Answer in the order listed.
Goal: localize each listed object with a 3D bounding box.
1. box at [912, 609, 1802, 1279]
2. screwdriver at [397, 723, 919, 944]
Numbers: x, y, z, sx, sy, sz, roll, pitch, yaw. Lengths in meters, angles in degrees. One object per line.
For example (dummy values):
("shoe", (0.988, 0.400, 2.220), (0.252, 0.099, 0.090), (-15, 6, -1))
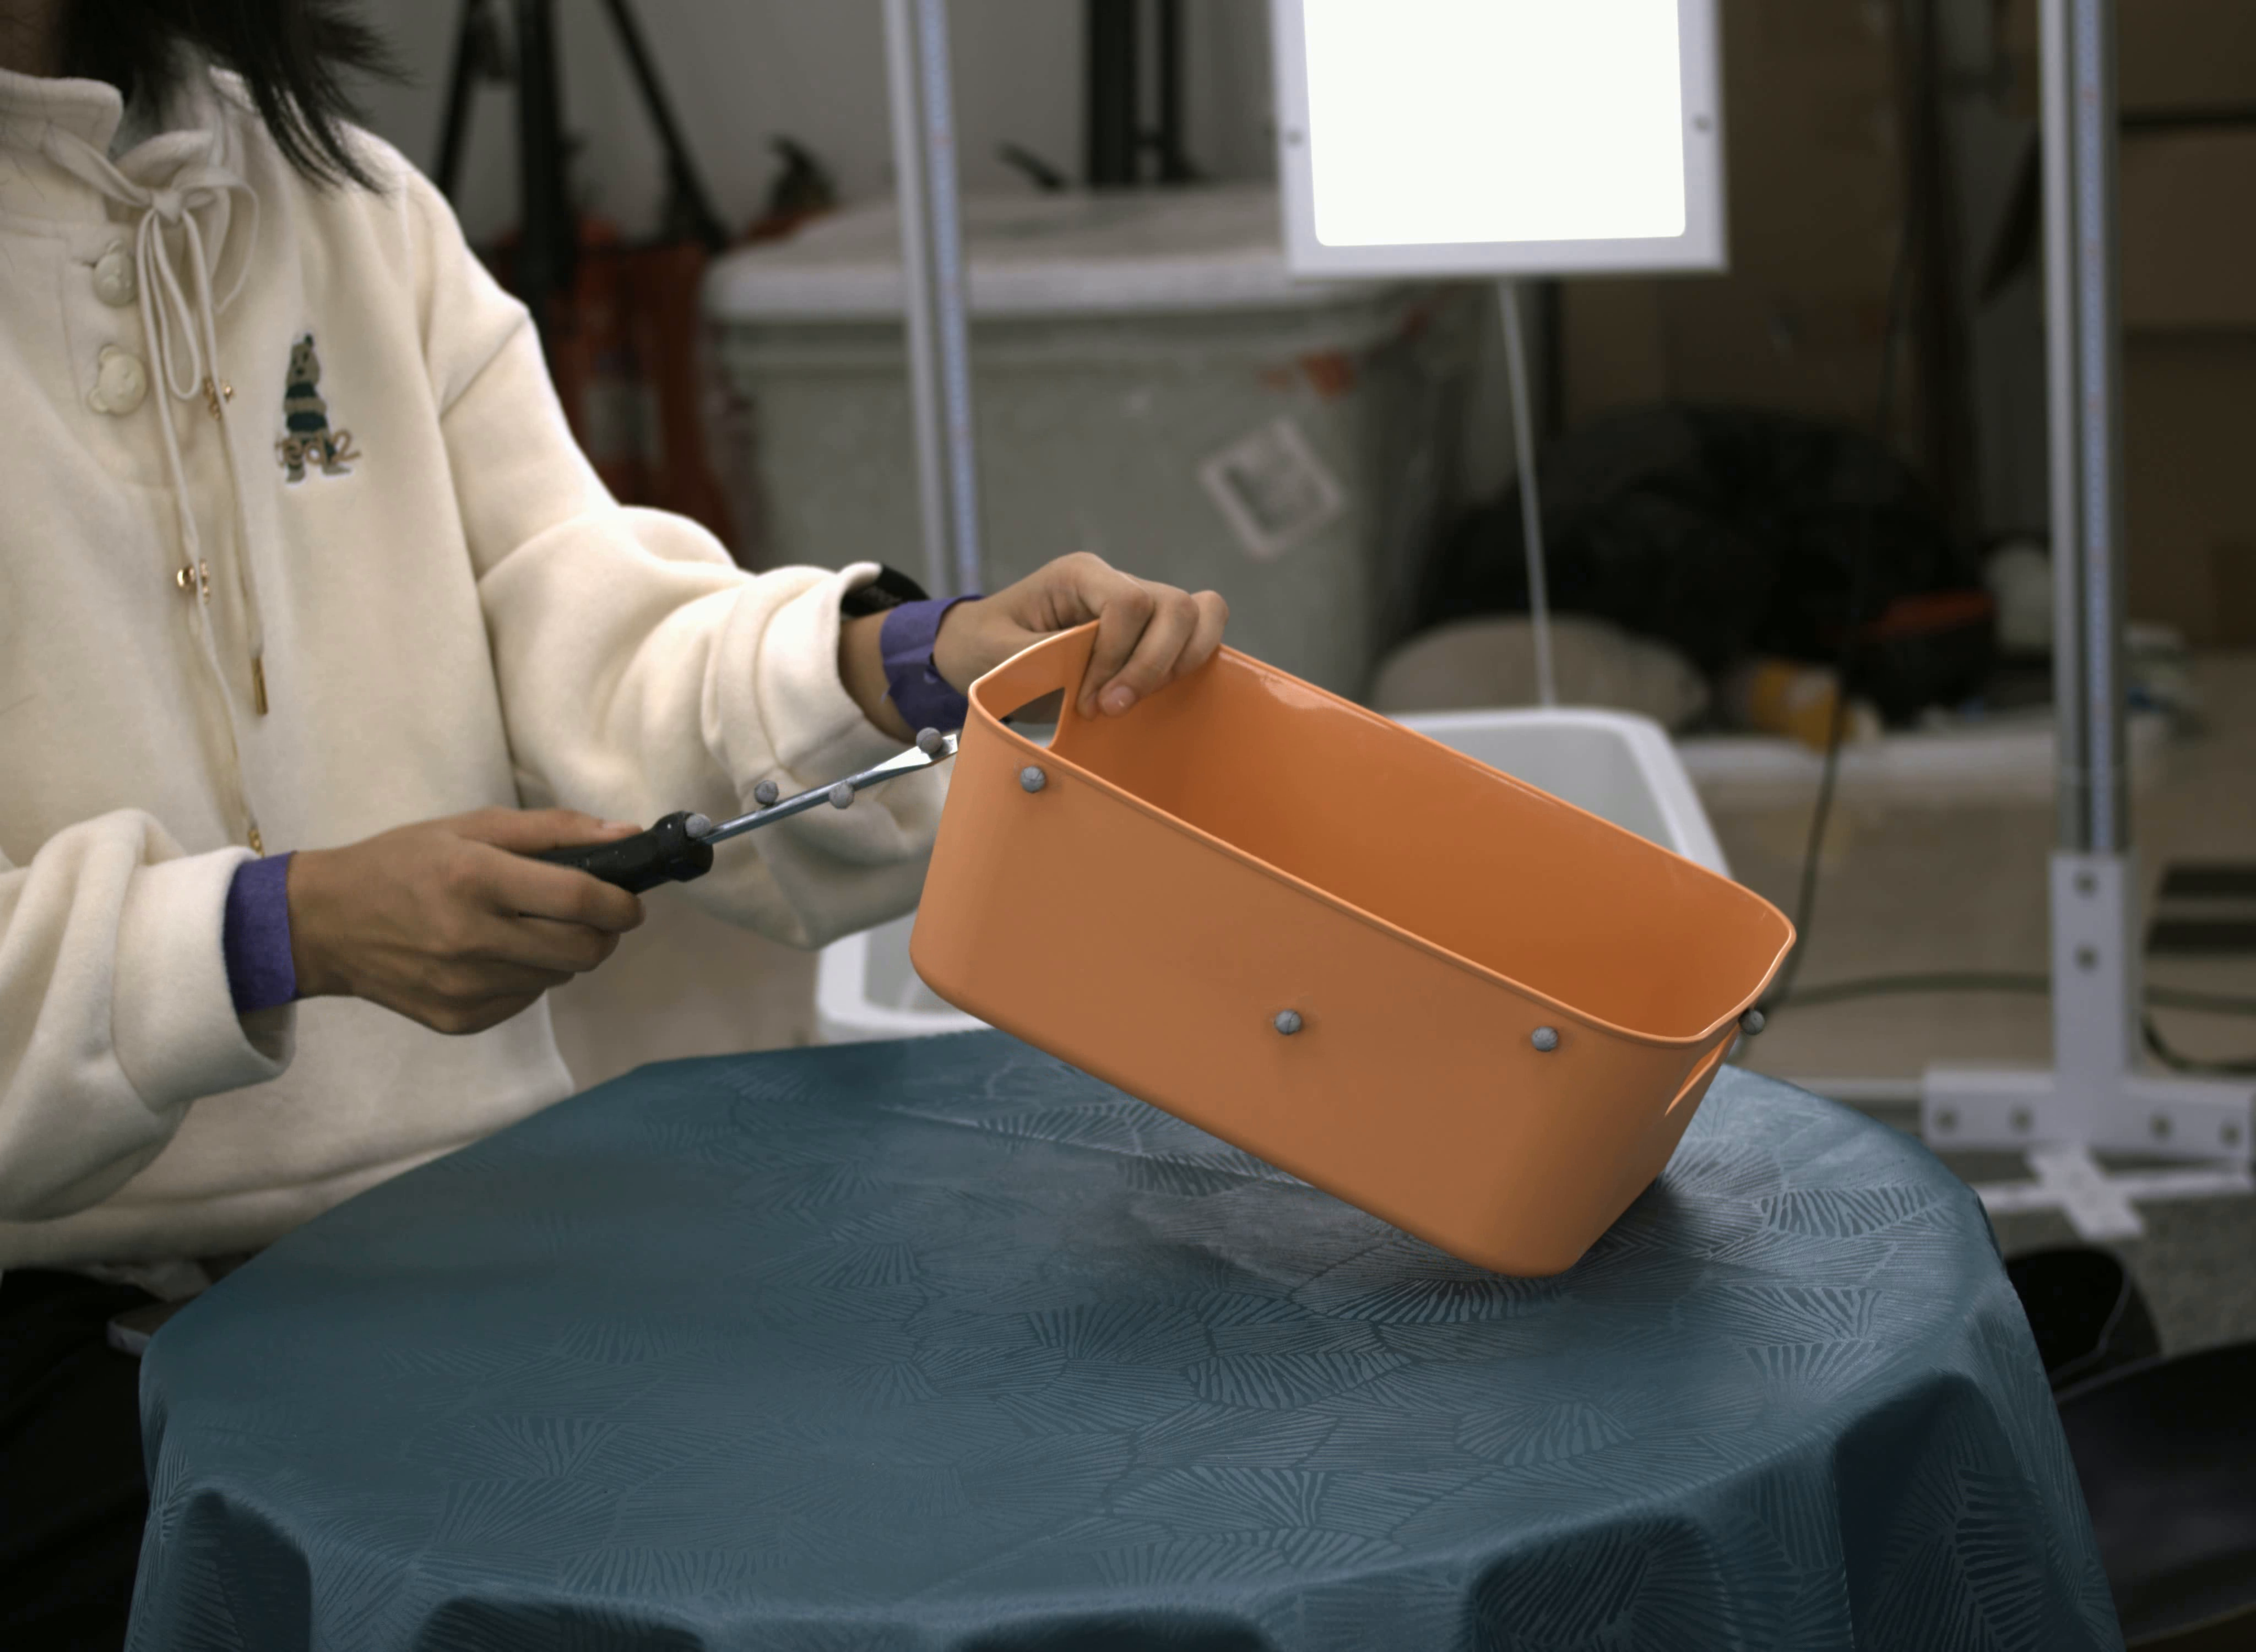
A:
("box", (0.071, 0.038, 1.829), (0.275, 0.103, 0.196), (26, 21, 15))
("screwdriver", (-0.158, -0.003, 1.854), (0.200, 0.031, 0.031), (-21, 9, 16))
